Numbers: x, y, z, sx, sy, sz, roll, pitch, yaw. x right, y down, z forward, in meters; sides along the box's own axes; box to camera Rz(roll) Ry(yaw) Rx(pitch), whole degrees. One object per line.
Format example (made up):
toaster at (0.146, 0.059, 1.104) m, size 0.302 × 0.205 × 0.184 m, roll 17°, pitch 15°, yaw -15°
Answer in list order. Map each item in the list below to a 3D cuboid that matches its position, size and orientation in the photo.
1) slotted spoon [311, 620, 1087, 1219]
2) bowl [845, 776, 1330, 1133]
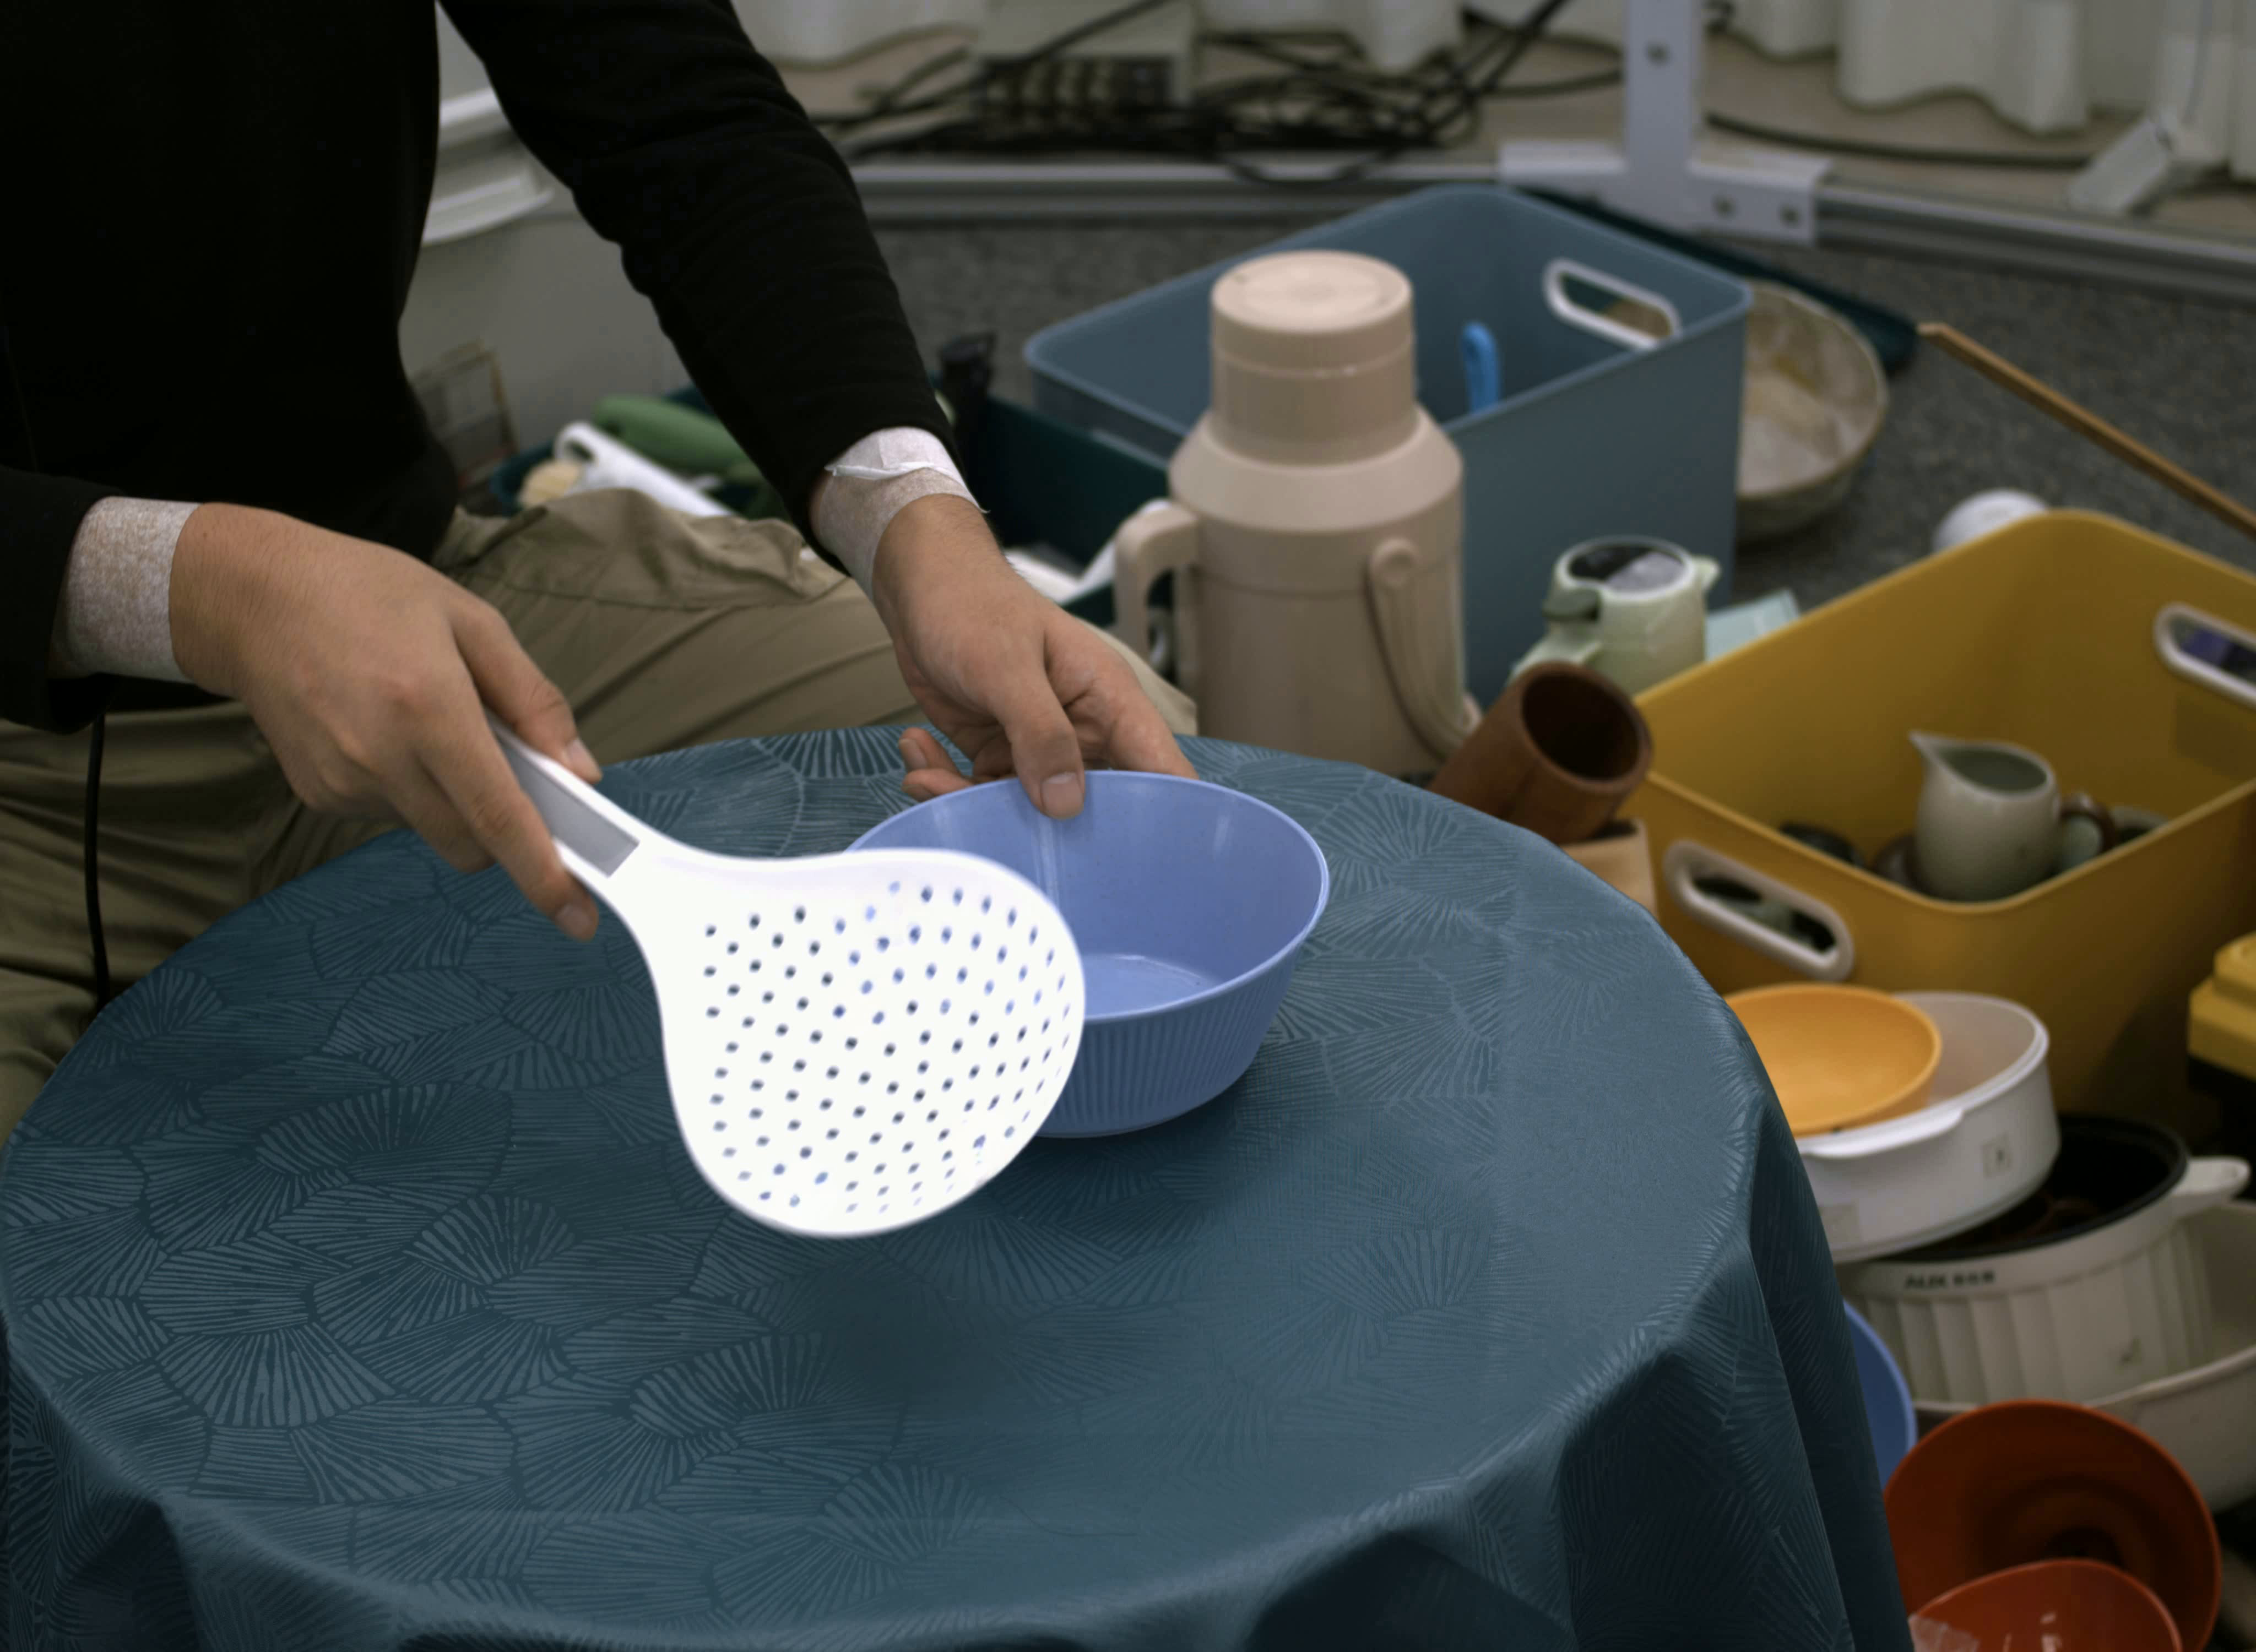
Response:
slotted spoon at (-0.149, 0.018, 1.820) m, size 0.350 × 0.045 × 0.137 m, roll 33°, pitch 75°, yaw 31°
bowl at (-0.017, 0.049, 1.925) m, size 0.175 × 0.069 × 0.178 m, roll -2°, pitch 26°, yaw 1°
